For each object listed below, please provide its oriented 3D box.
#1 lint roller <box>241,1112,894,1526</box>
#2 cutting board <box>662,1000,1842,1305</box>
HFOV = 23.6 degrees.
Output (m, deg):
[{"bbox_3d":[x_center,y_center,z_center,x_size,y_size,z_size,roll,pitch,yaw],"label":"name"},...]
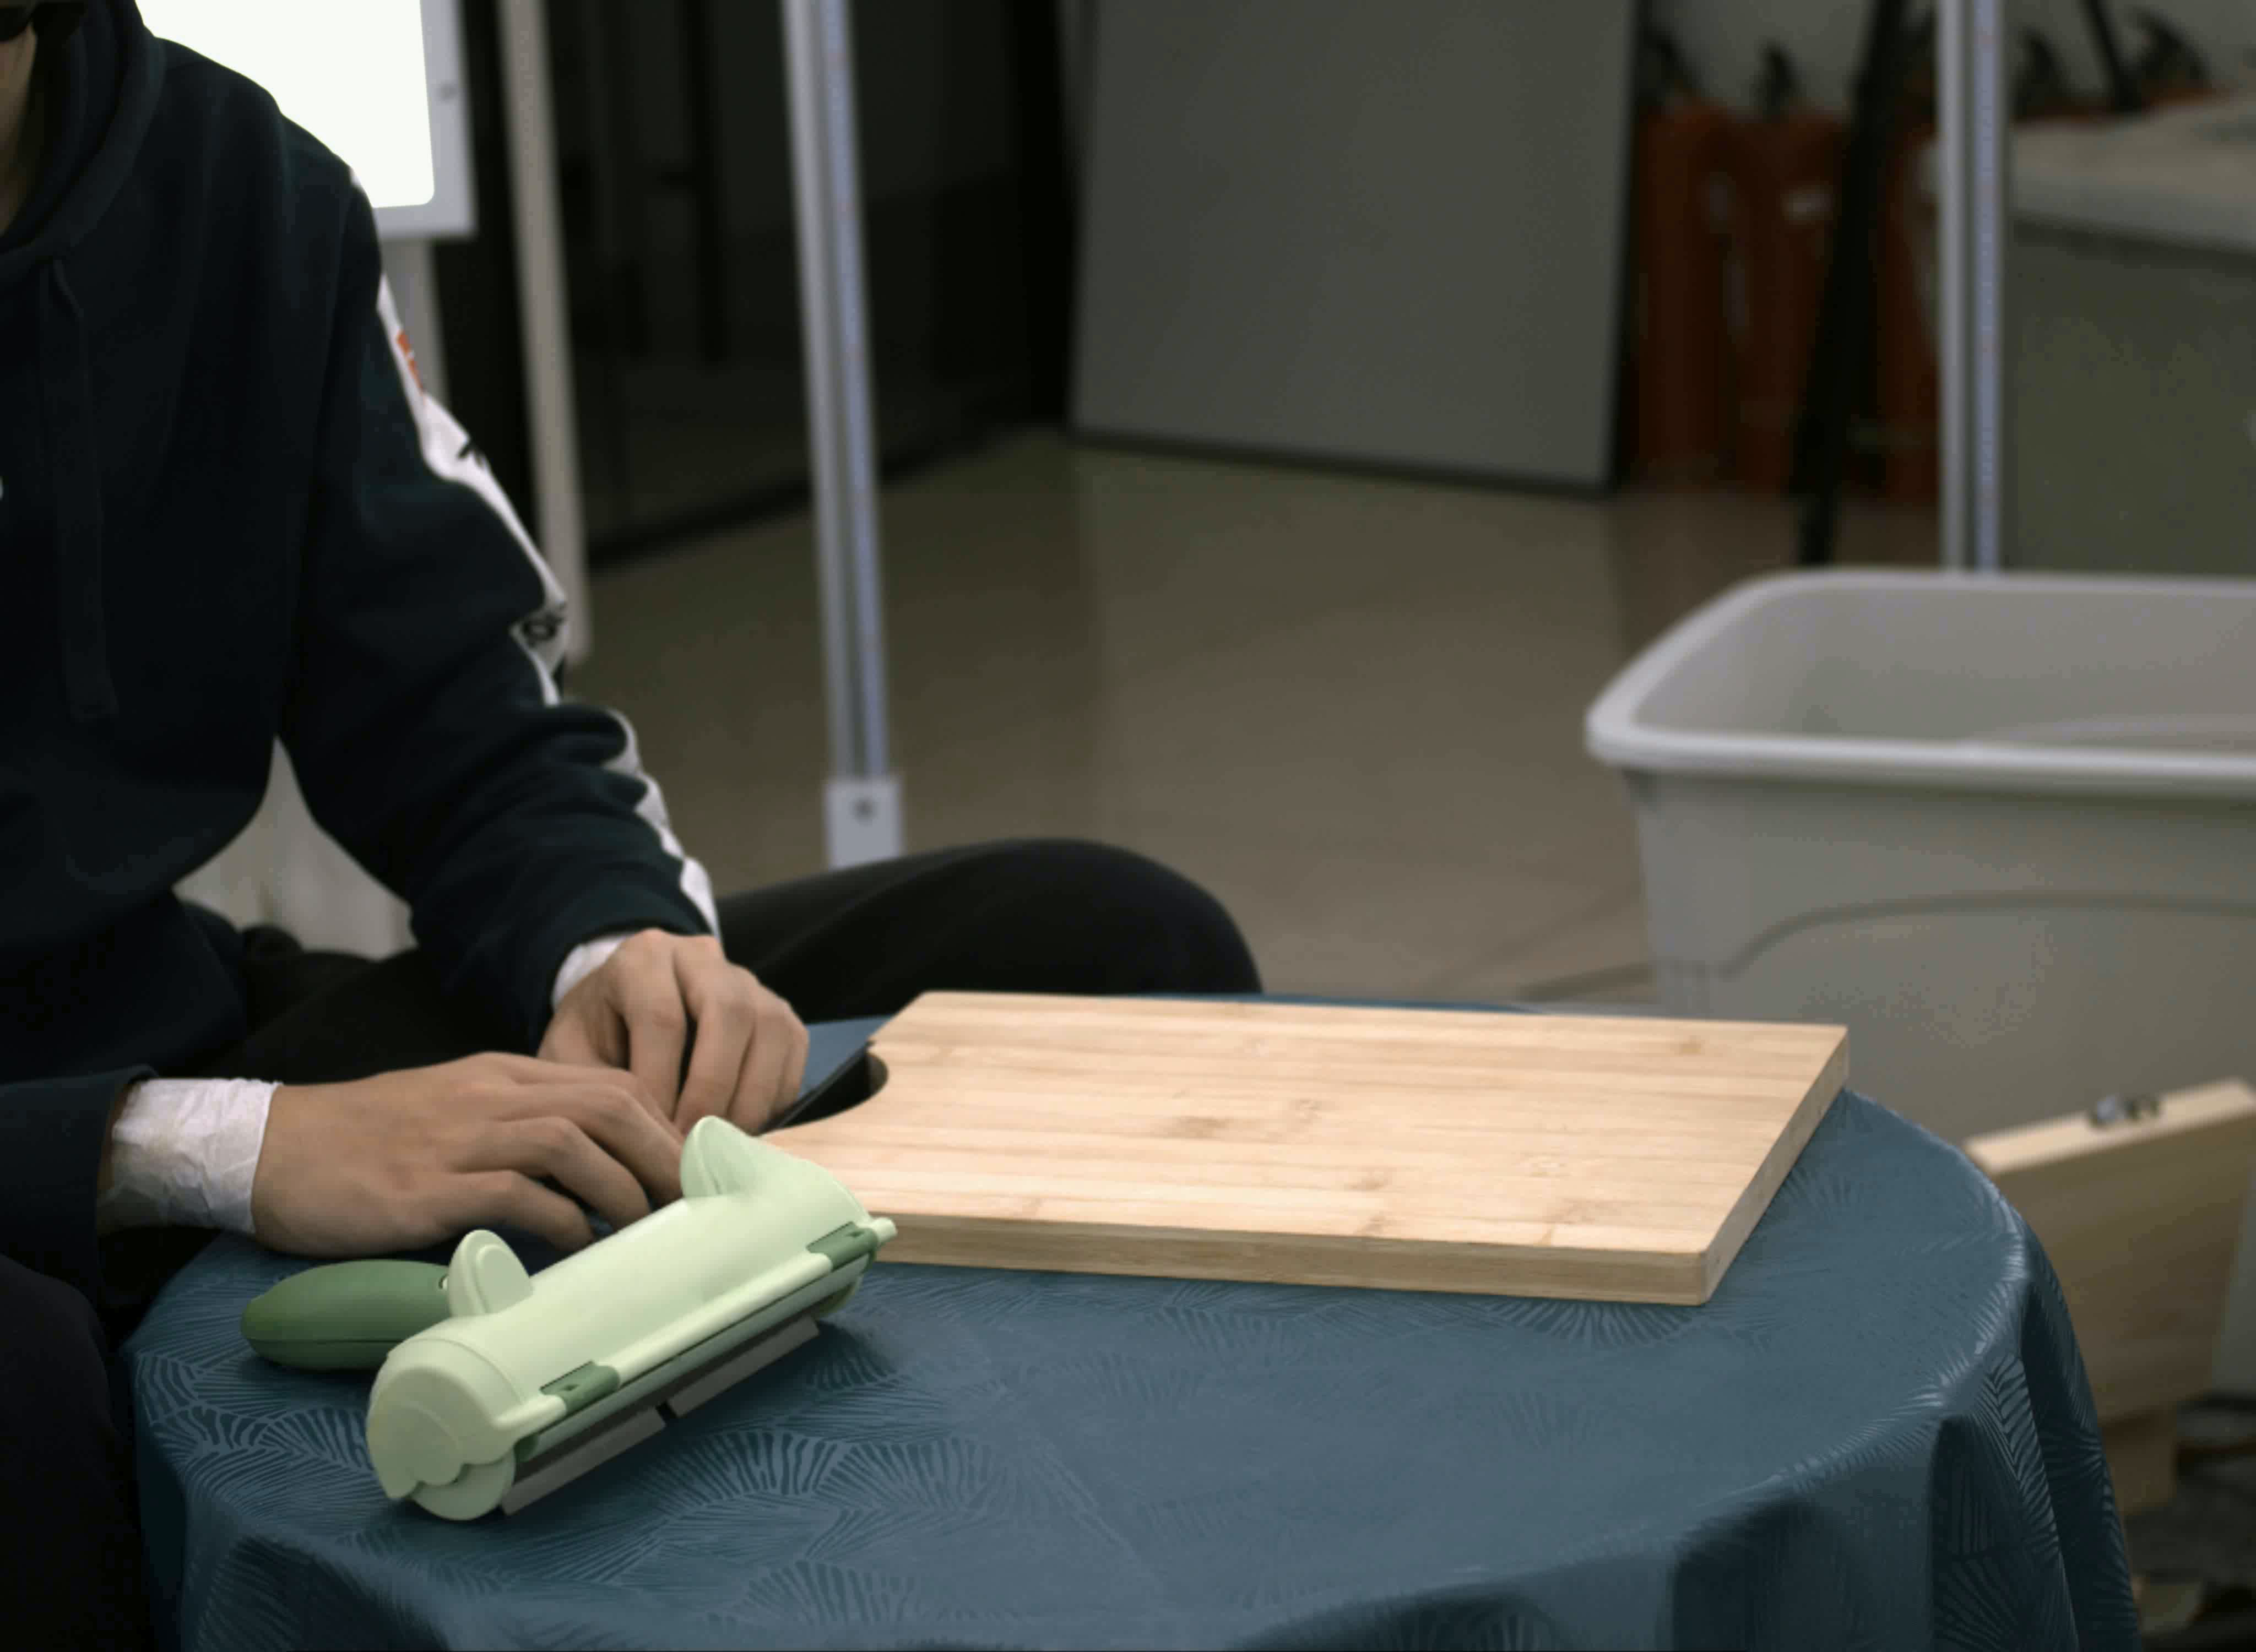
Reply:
[{"bbox_3d":[-0.193,0.134,1.615,0.184,0.083,0.195,9,19,31],"label":"lint roller"},{"bbox_3d":[0.047,0.105,1.791,0.348,0.024,0.248,1,14,19],"label":"cutting board"}]
